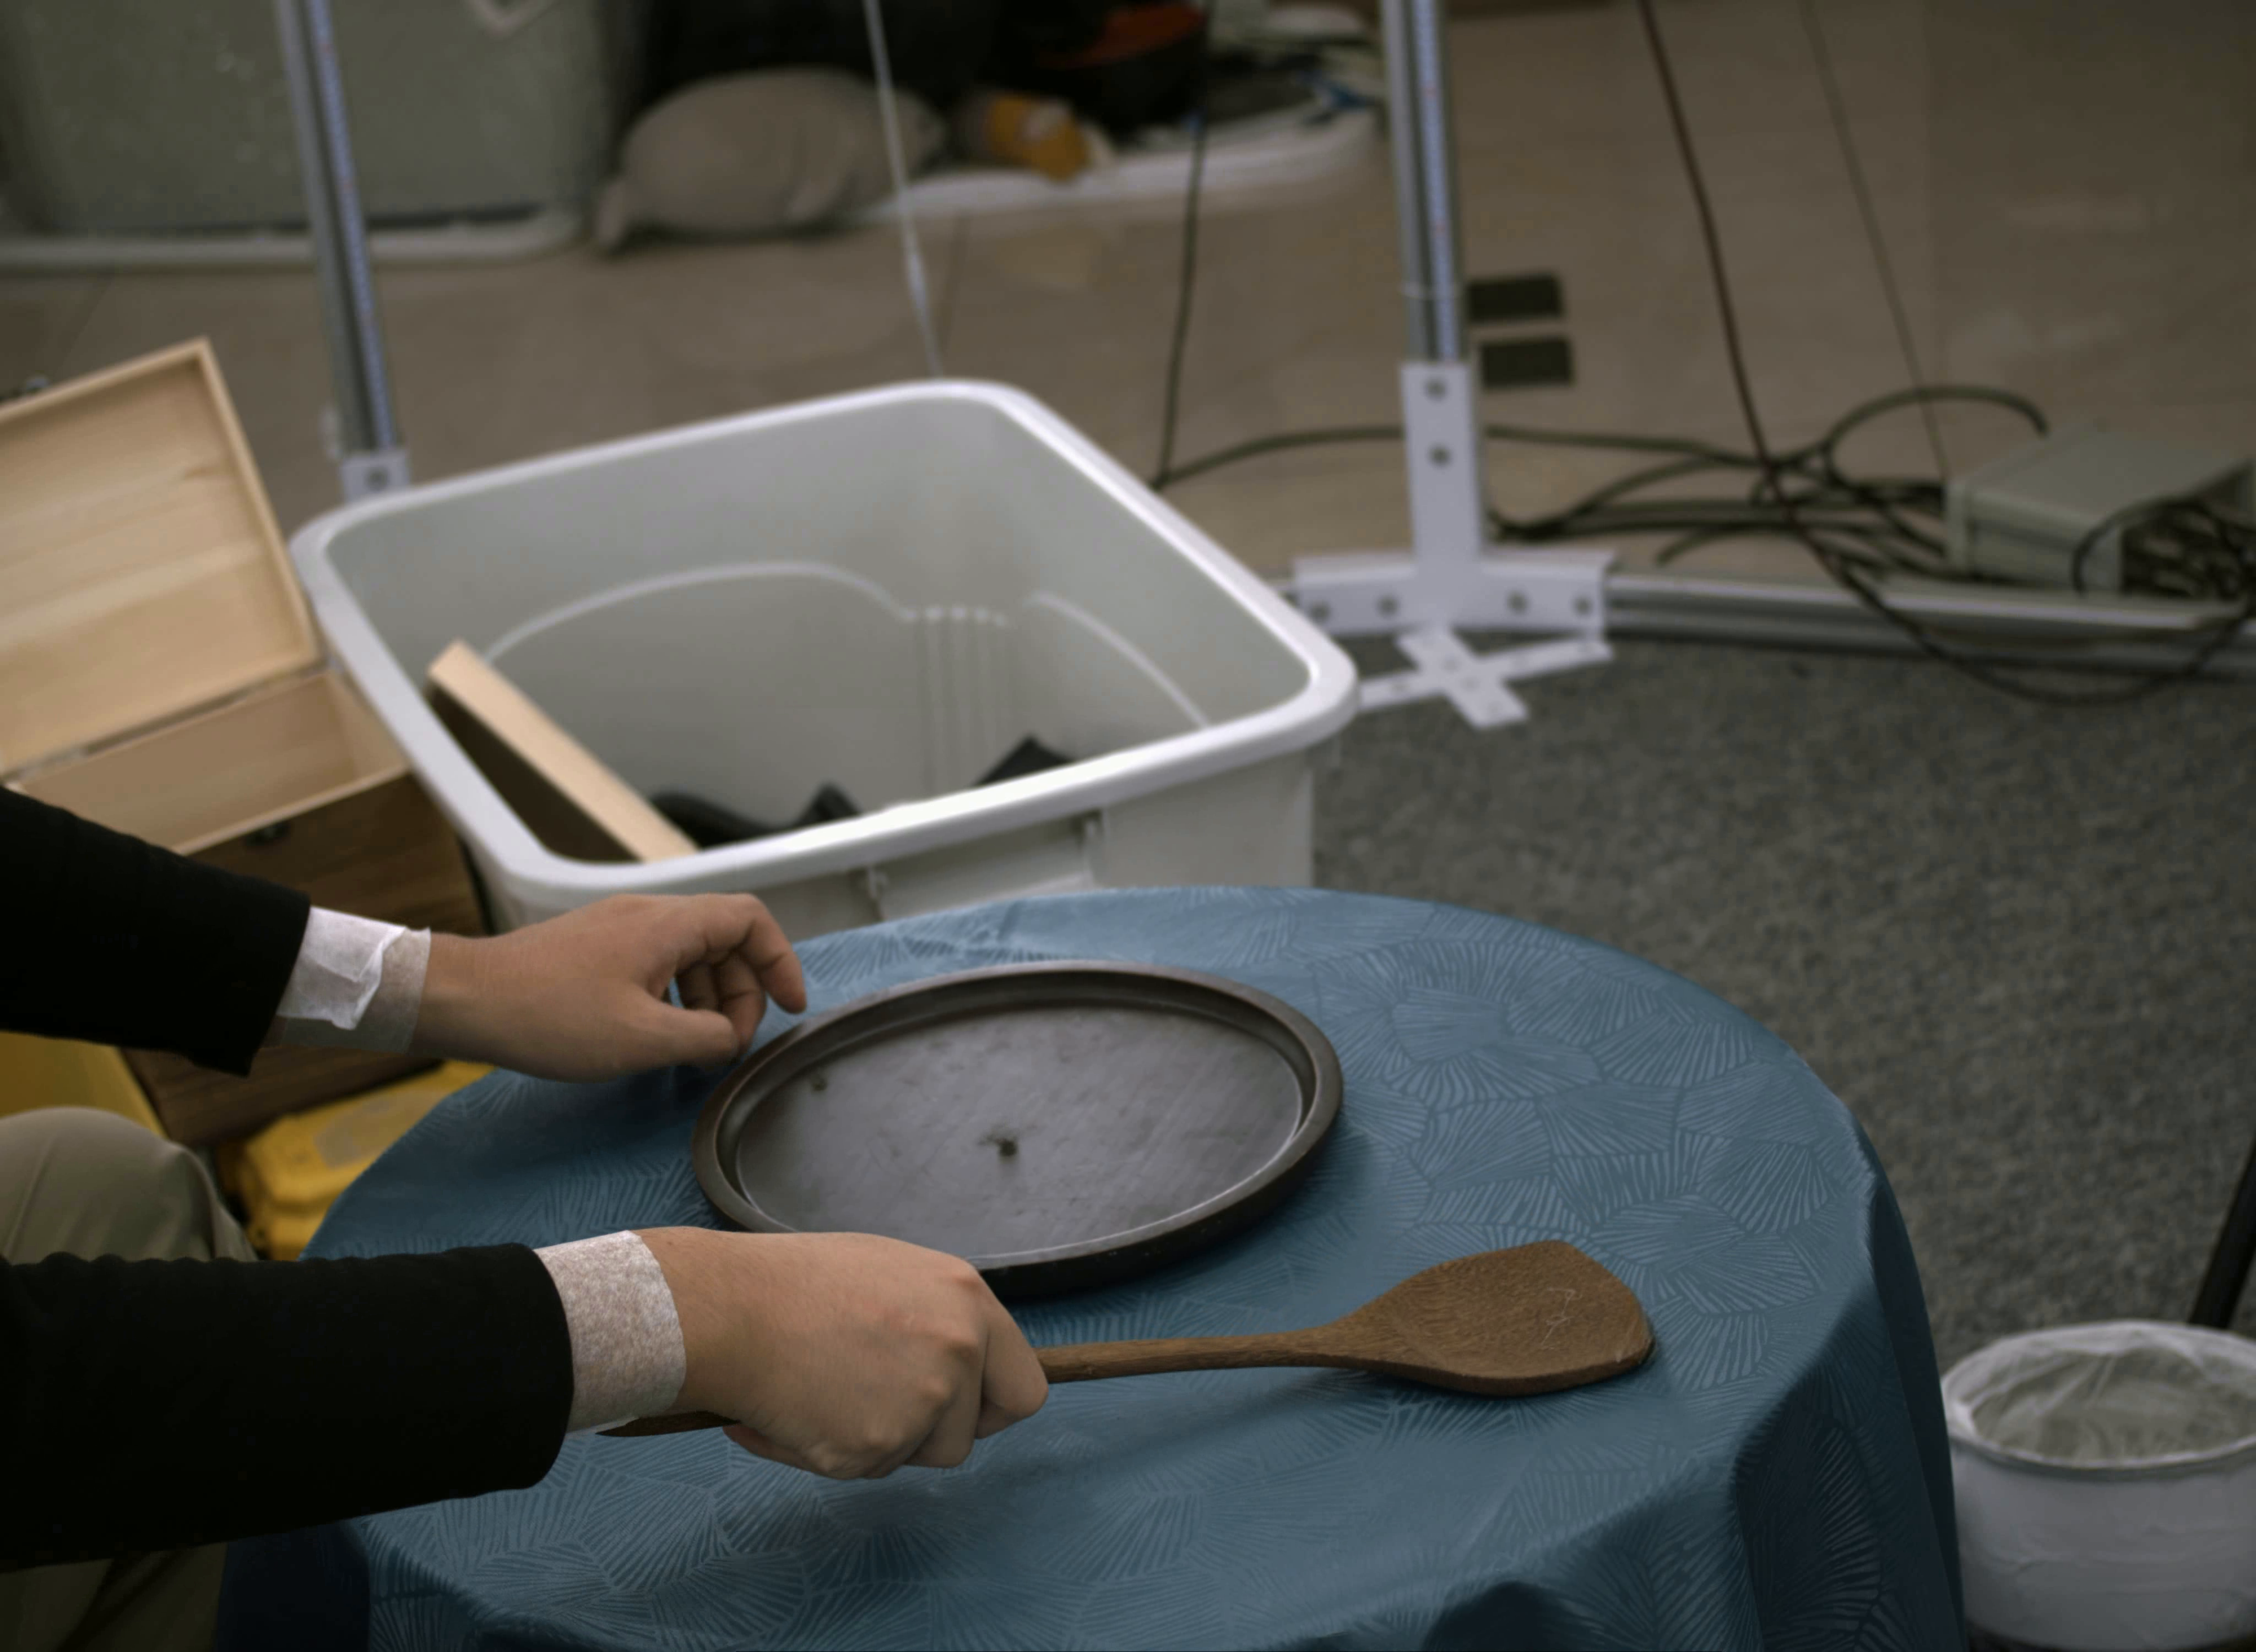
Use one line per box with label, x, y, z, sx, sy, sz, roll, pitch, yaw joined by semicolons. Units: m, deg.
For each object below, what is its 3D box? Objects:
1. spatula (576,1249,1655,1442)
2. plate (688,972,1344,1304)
spatula;-0.003;0.186;1.975;0.385;0.016;0.095;-4;23;-17
plate;-0.043;0.118;2.179;0.254;0.029;0.251;-4;26;2
